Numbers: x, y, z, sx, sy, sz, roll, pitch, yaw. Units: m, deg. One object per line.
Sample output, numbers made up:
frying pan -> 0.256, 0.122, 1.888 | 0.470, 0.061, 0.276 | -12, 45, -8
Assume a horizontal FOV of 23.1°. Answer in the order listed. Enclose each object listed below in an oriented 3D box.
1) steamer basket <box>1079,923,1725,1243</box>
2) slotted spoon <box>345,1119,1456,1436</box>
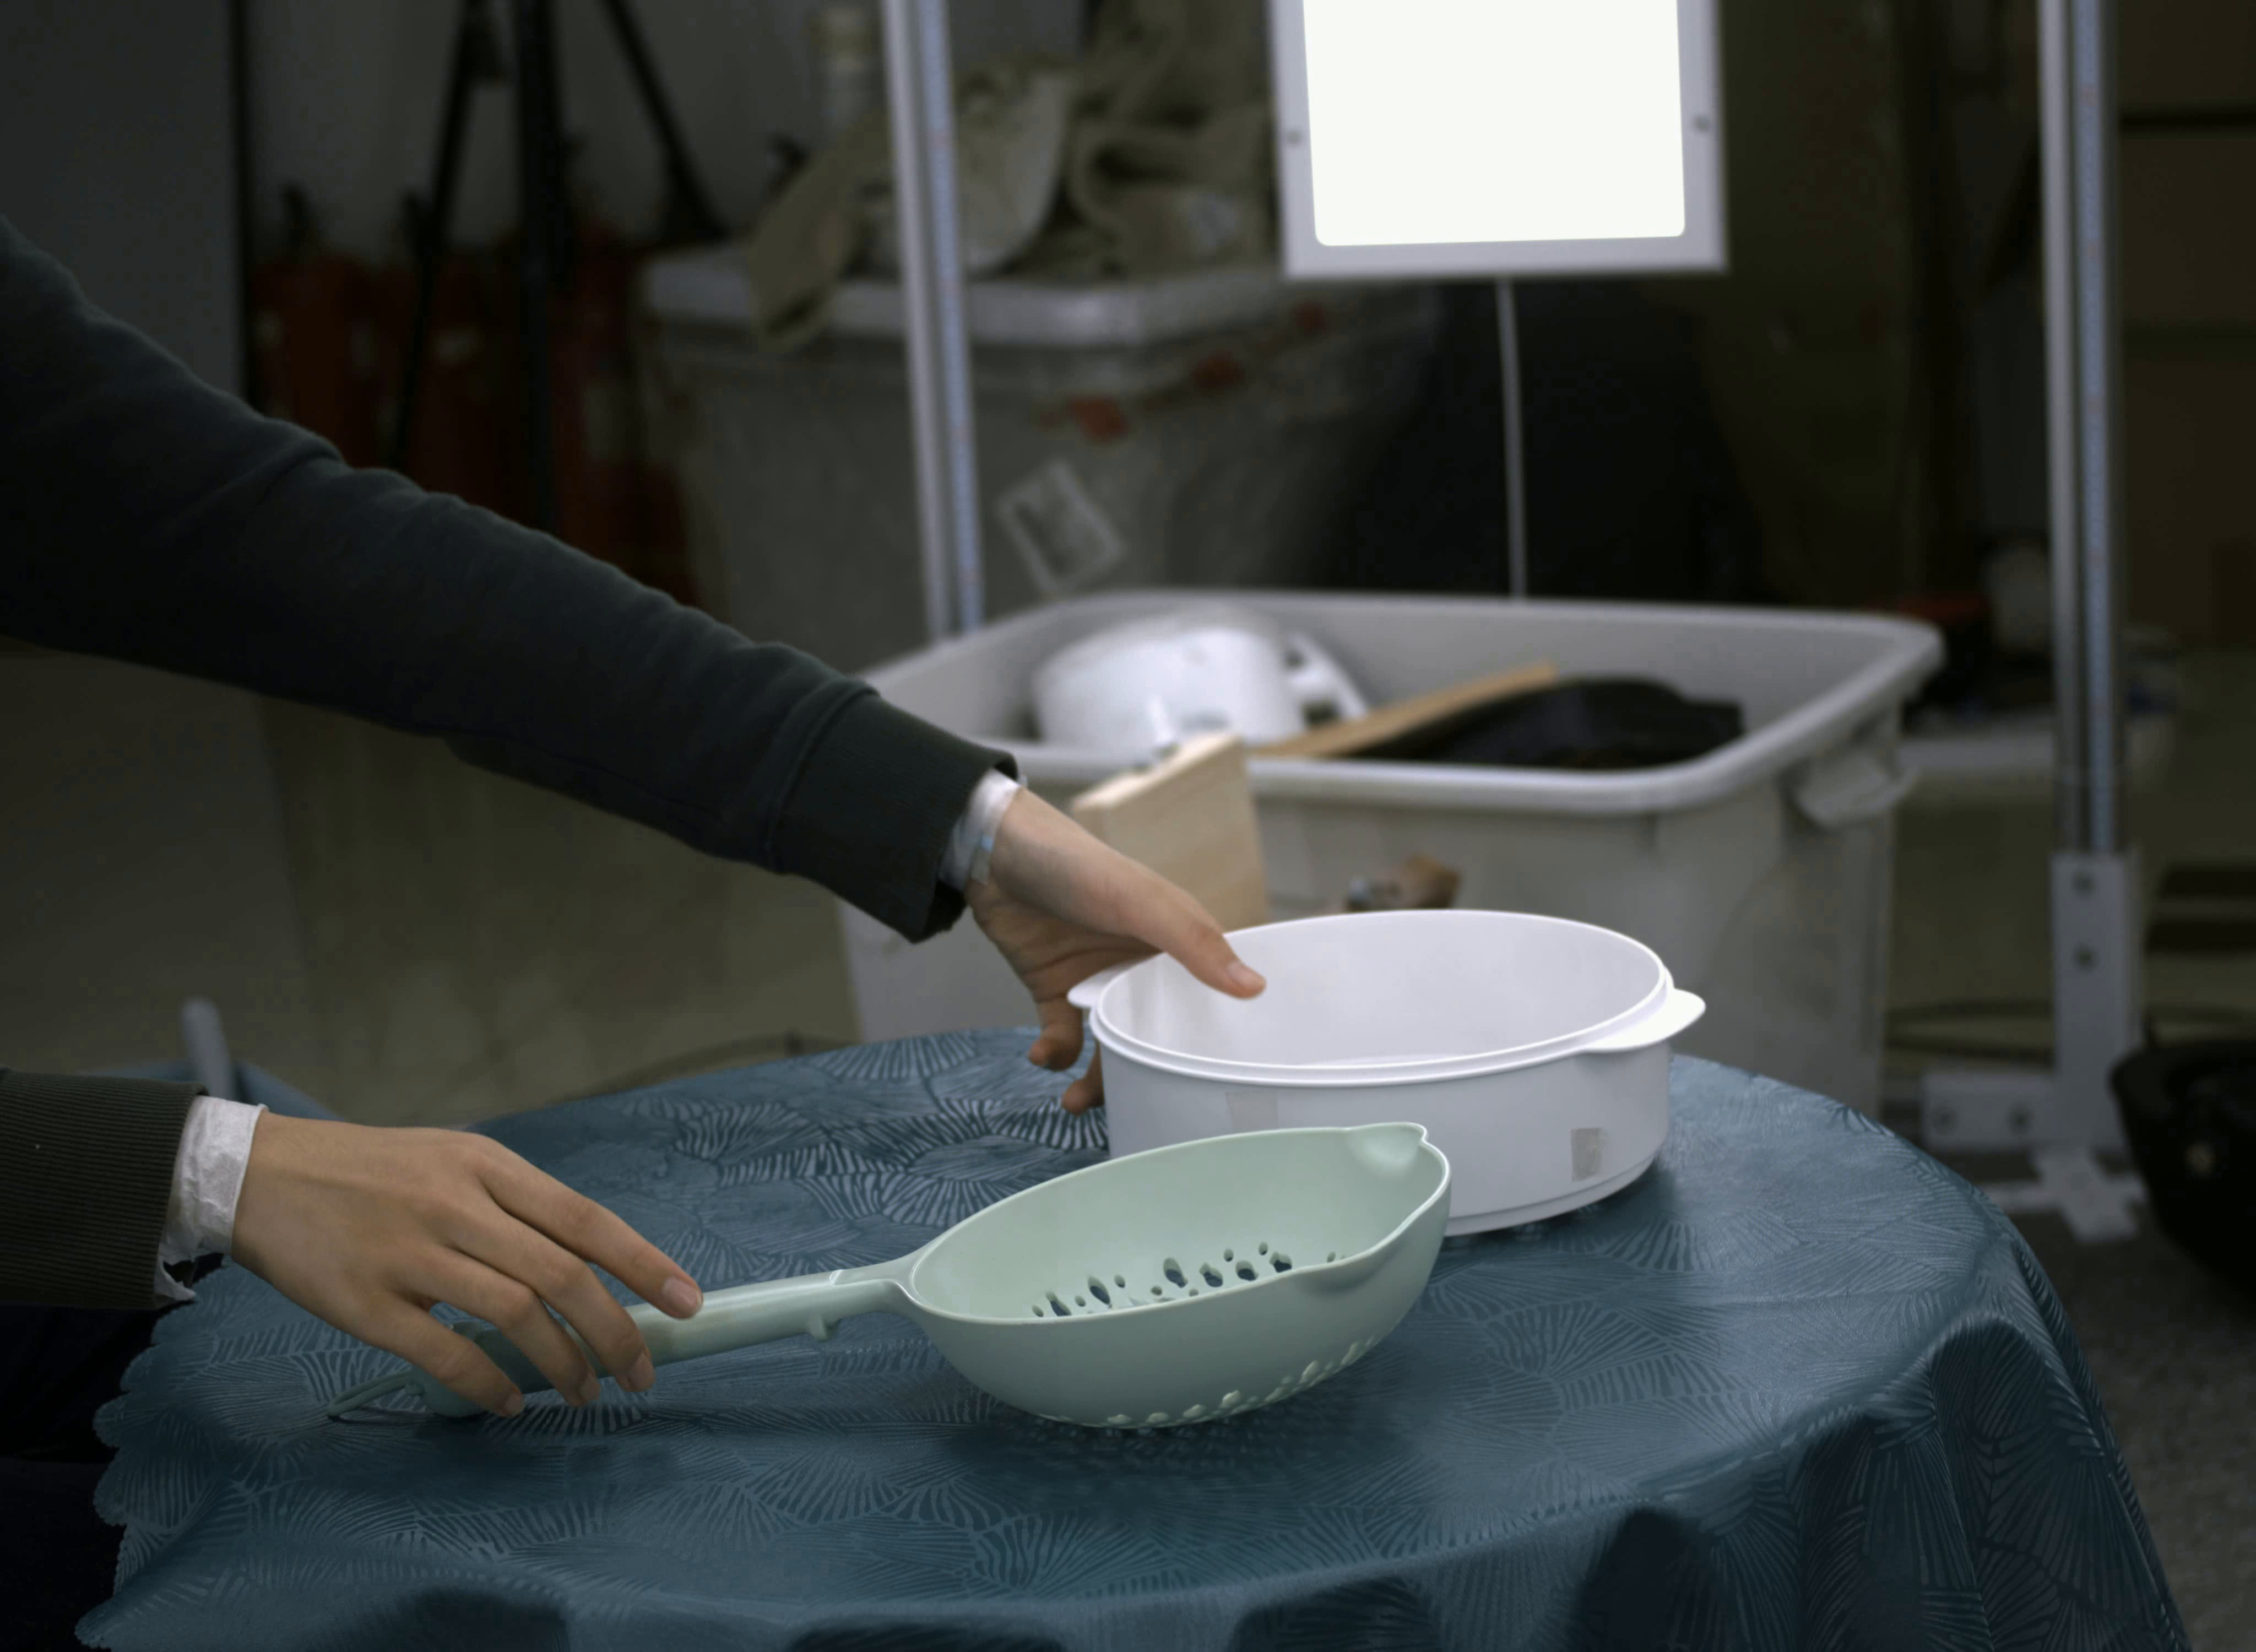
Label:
steamer basket -> 0.094, 0.088, 1.885 | 0.235, 0.069, 0.197 | 3, 15, 30
slotted spoon -> -0.075, 0.149, 1.701 | 0.361, 0.075, 0.167 | -2, 13, 12
